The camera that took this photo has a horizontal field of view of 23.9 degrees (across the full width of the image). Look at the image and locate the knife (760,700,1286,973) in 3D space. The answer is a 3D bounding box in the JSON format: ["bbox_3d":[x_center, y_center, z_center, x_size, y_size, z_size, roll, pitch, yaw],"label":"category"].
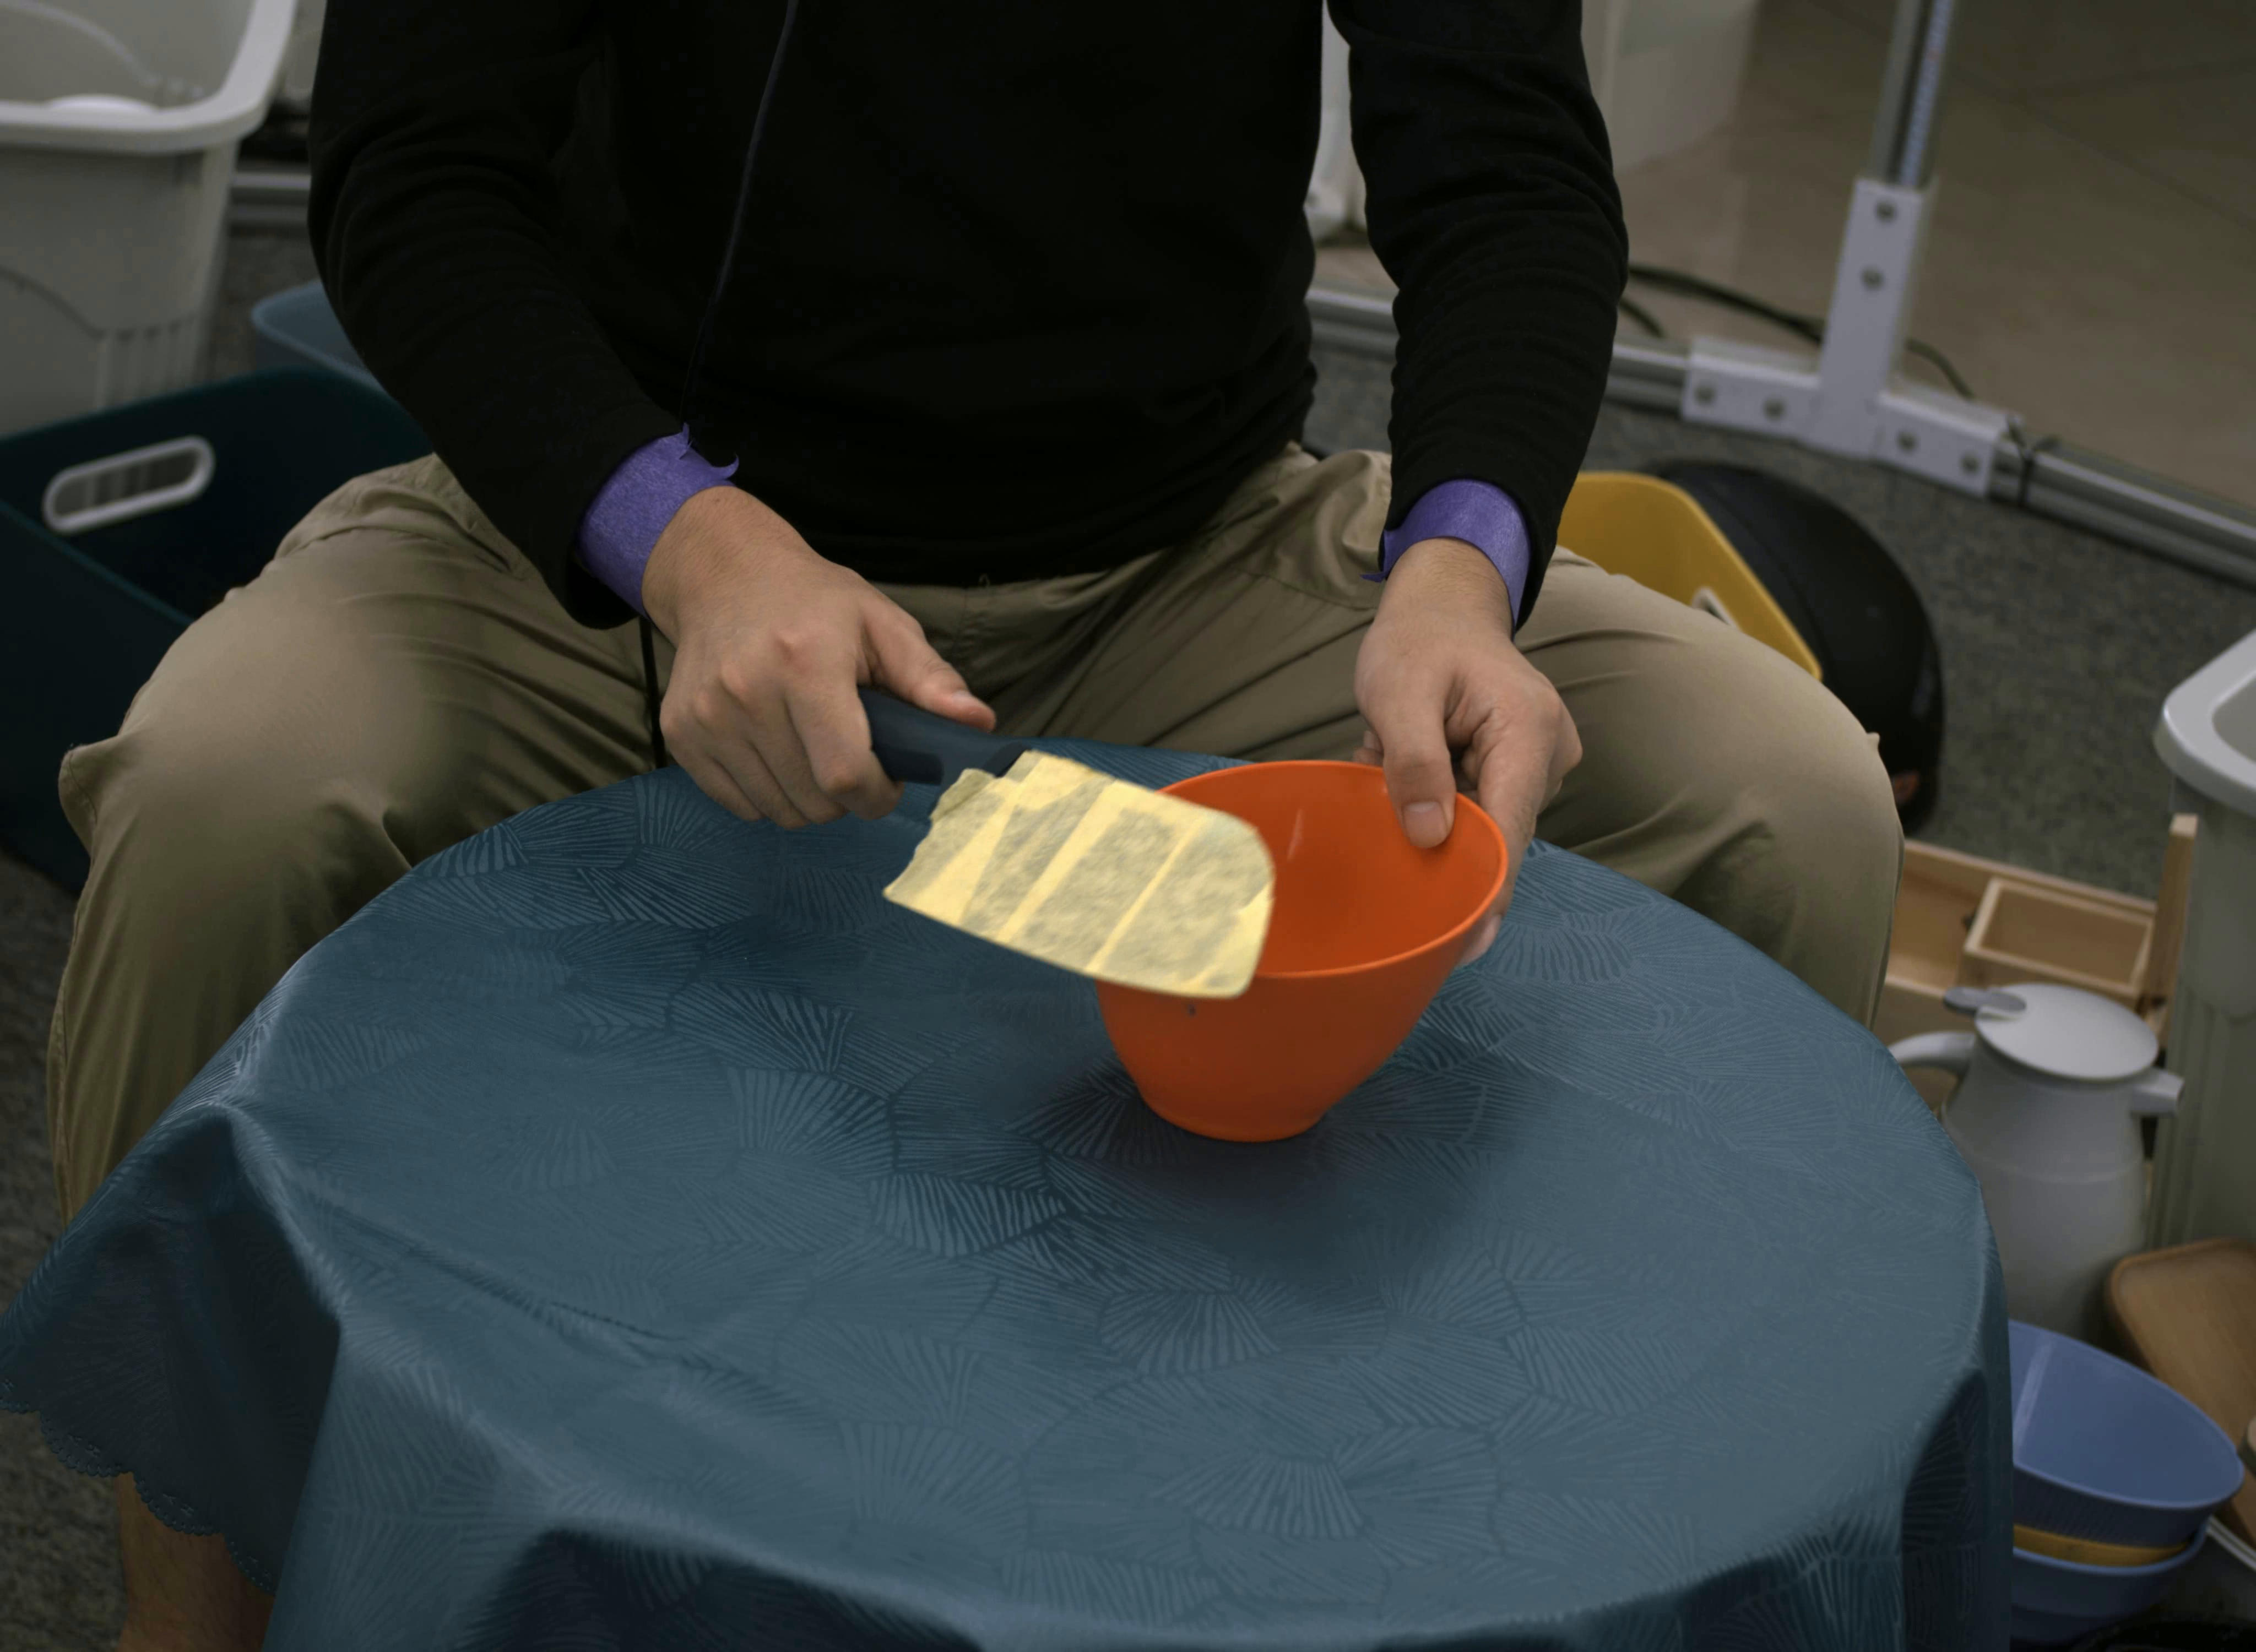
[{"bbox_3d":[-0.044,0.002,1.843,0.291,0.027,0.081,20,63,48],"label":"knife"}]

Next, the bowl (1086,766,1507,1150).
[{"bbox_3d":[0.053,0.052,1.851,0.147,0.104,0.149,3,28,-2],"label":"bowl"}]
